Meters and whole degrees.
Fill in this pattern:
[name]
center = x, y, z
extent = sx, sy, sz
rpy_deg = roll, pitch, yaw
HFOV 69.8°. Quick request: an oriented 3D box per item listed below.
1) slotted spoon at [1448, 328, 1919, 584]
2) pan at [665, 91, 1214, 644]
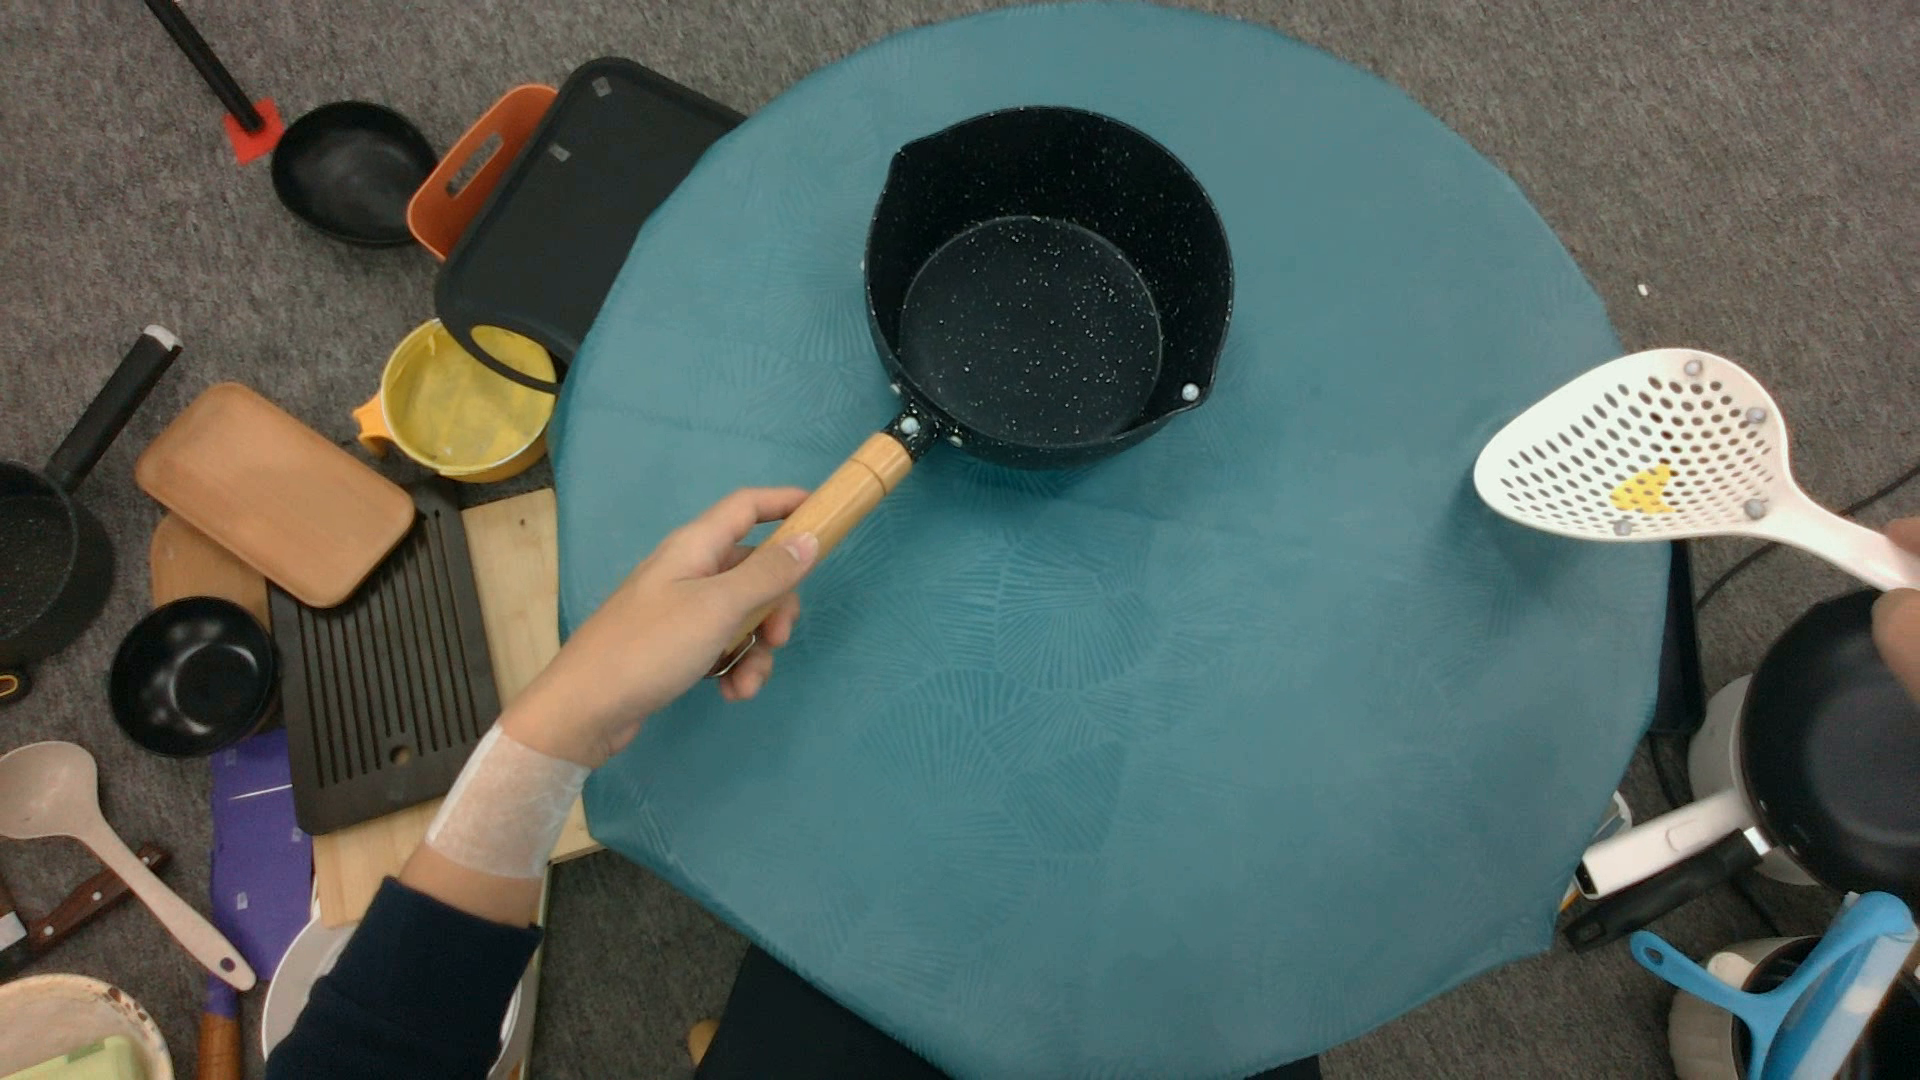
[slotted spoon]
center = 0.352, -0.017, 0.615
extent = 0.137, 0.348, 0.050
rpy_deg = -36, 110, 1
[pan]
center = -0.017, -0.072, 0.686
extent = 0.207, 0.108, 0.344
rpy_deg = 38, 74, 5
